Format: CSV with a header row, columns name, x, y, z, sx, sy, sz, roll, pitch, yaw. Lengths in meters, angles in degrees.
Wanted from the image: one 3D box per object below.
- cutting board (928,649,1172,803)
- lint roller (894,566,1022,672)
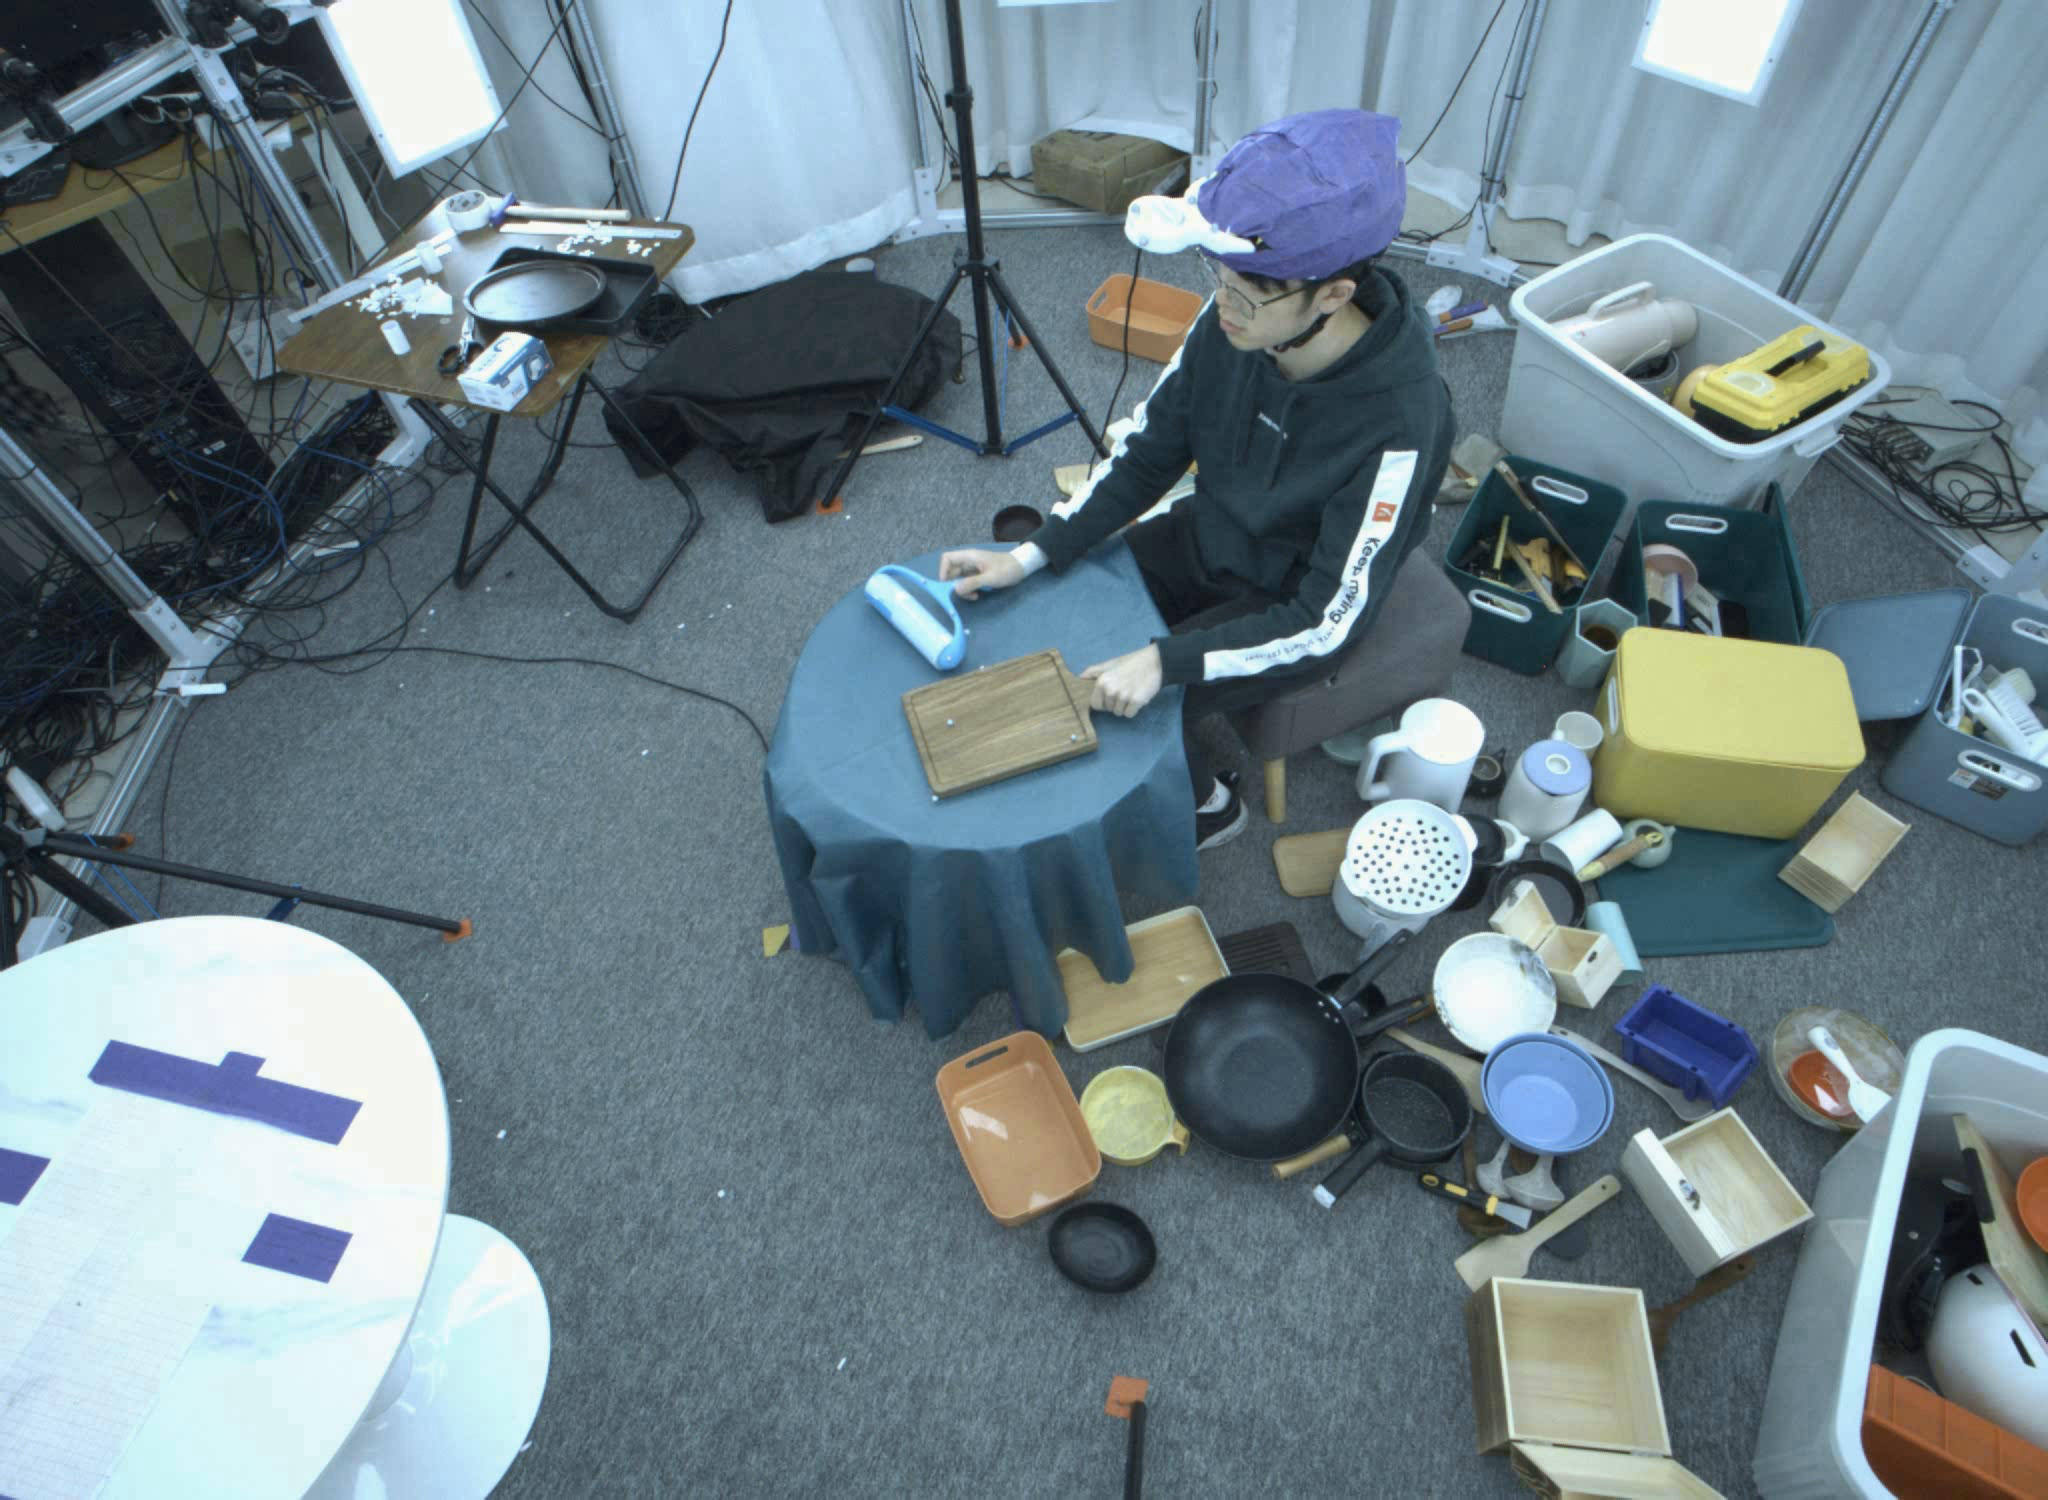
name,x,y,z,sx,sy,sz,roll,pitch,yaw
cutting board,0.050,-0.053,1.798,0.354,0.023,0.198,-17,56,-7
lint roller,-0.082,-0.231,1.915,0.181,0.069,0.224,-35,59,-20
